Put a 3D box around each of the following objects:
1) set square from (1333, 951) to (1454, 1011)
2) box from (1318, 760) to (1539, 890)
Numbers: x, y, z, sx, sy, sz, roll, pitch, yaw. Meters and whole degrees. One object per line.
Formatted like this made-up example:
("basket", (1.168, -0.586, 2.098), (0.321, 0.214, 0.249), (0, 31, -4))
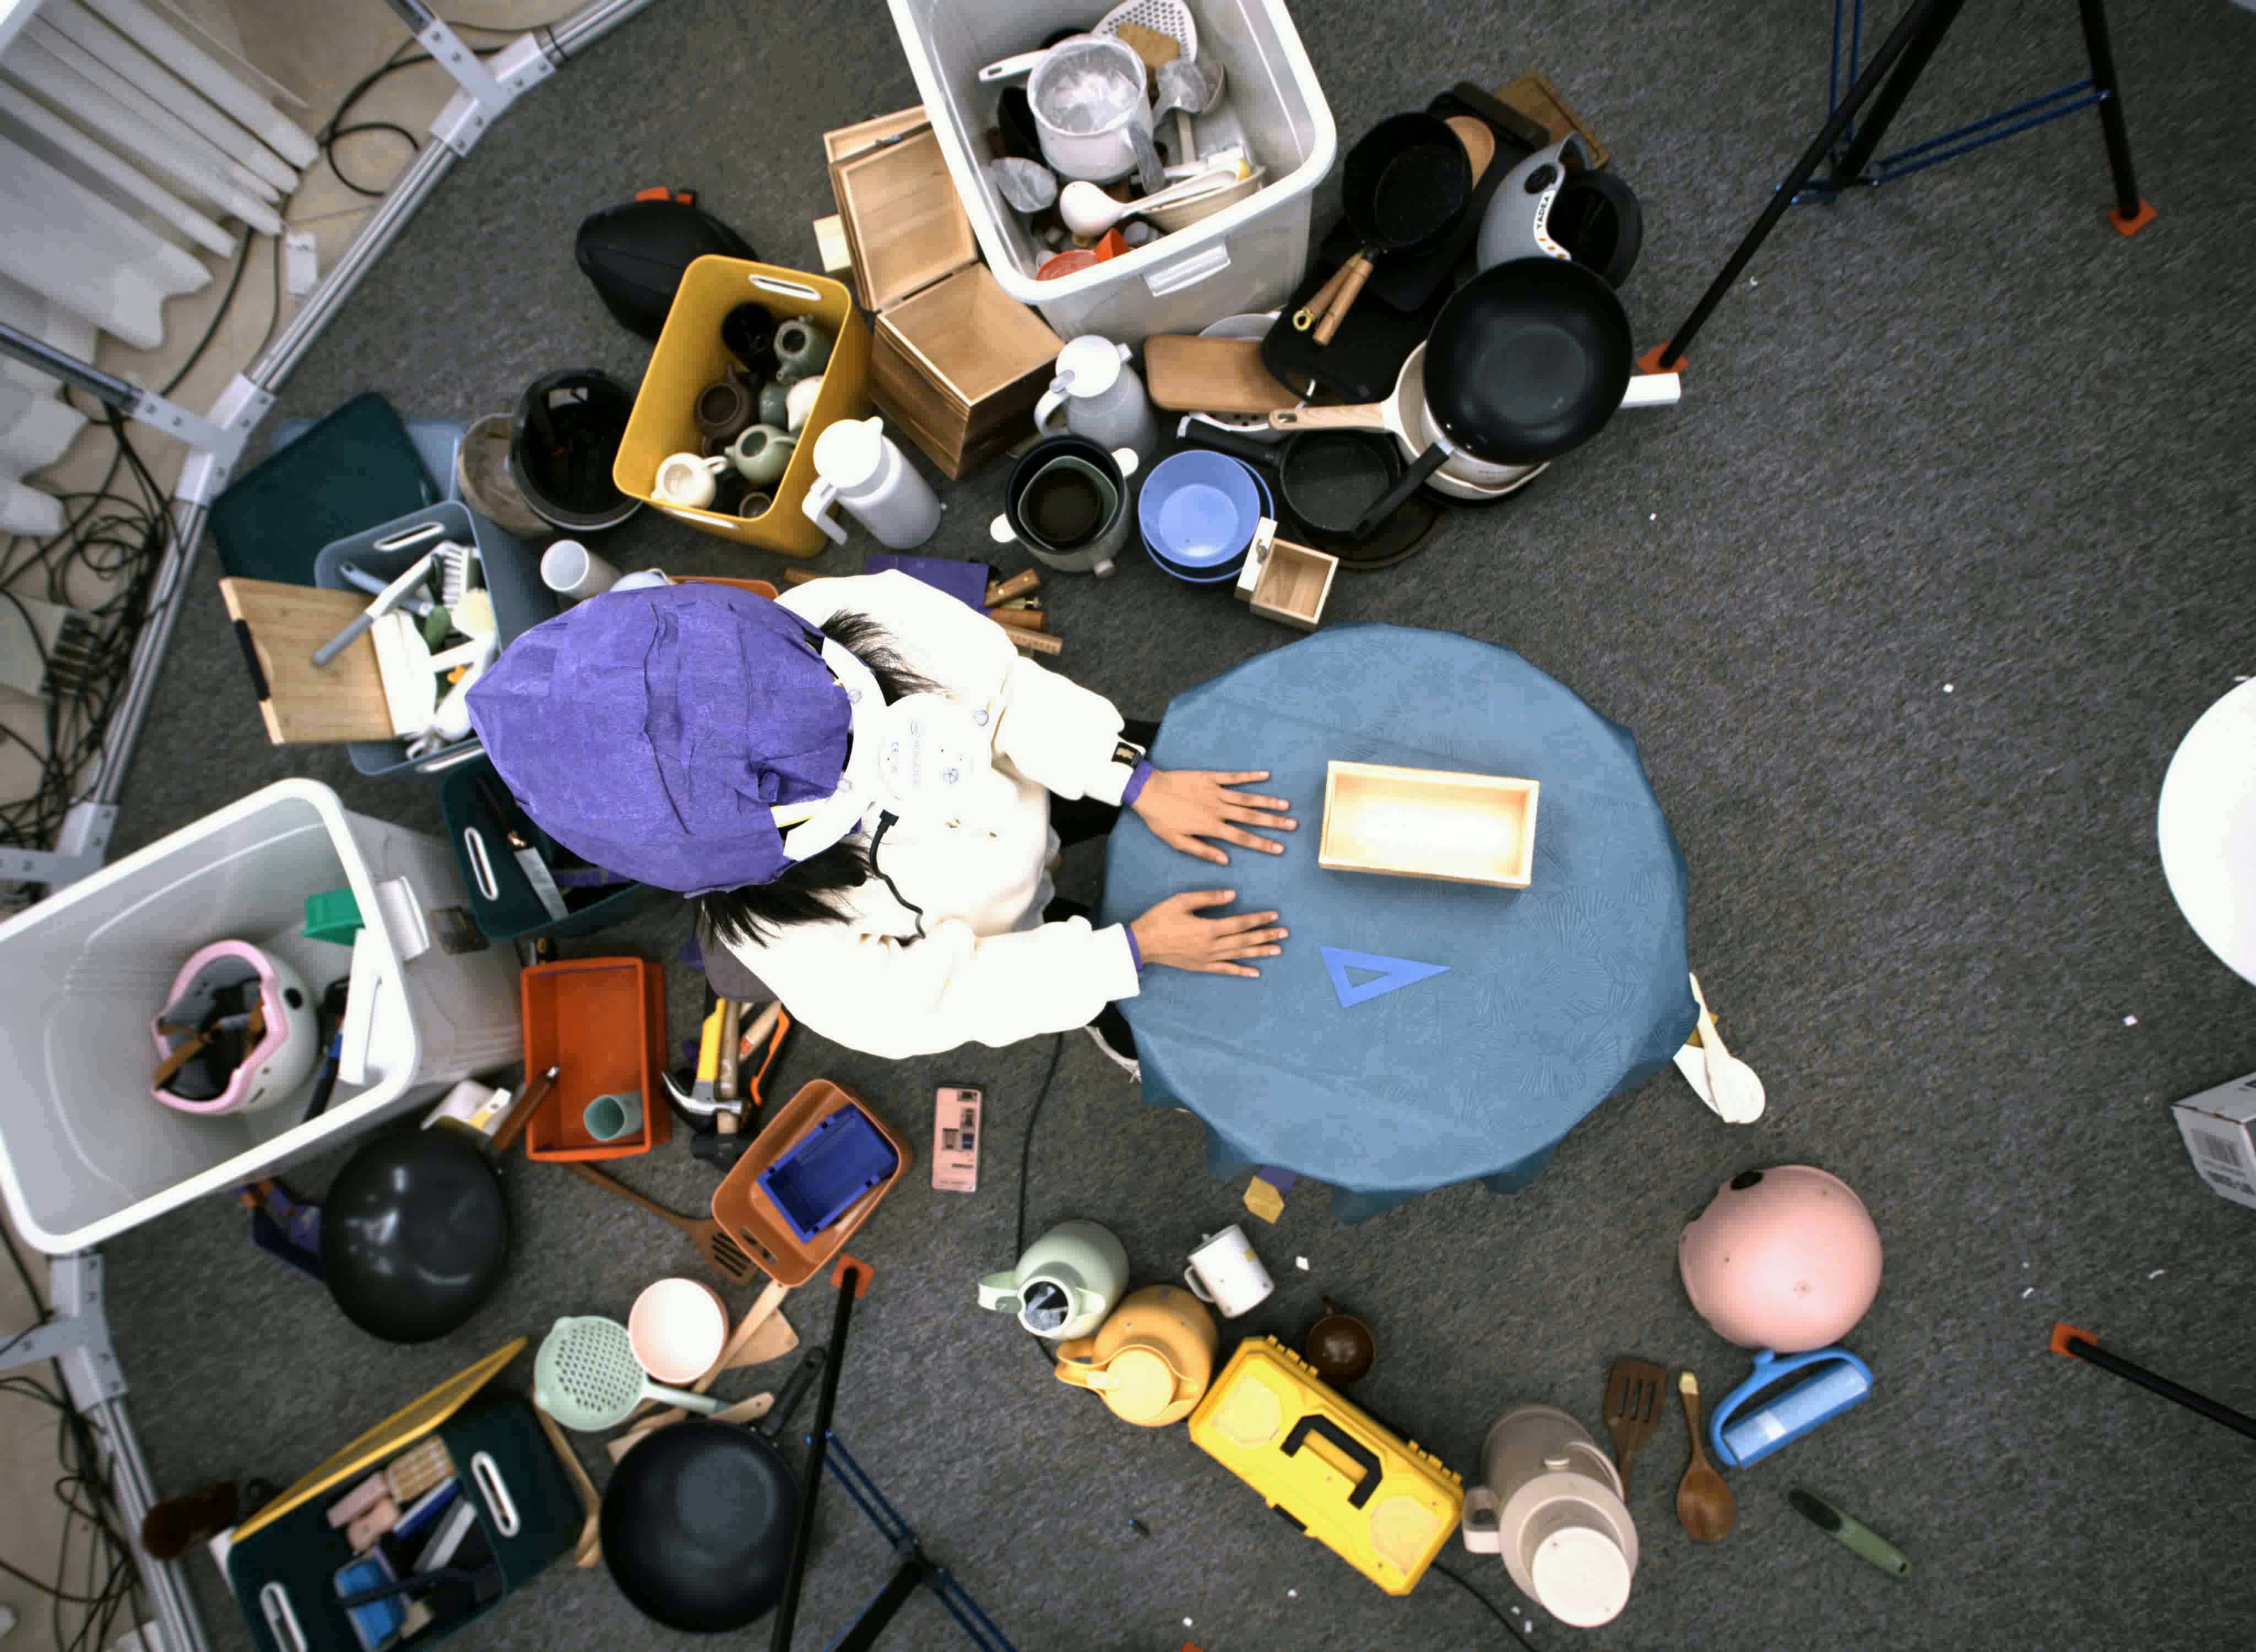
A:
("set square", (0.273, 0.172, 1.452), (0.132, 0.006, 0.061), (13, 88, 11))
("box", (0.306, -0.002, 1.417), (0.212, 0.080, 0.107), (5, 86, 10))
